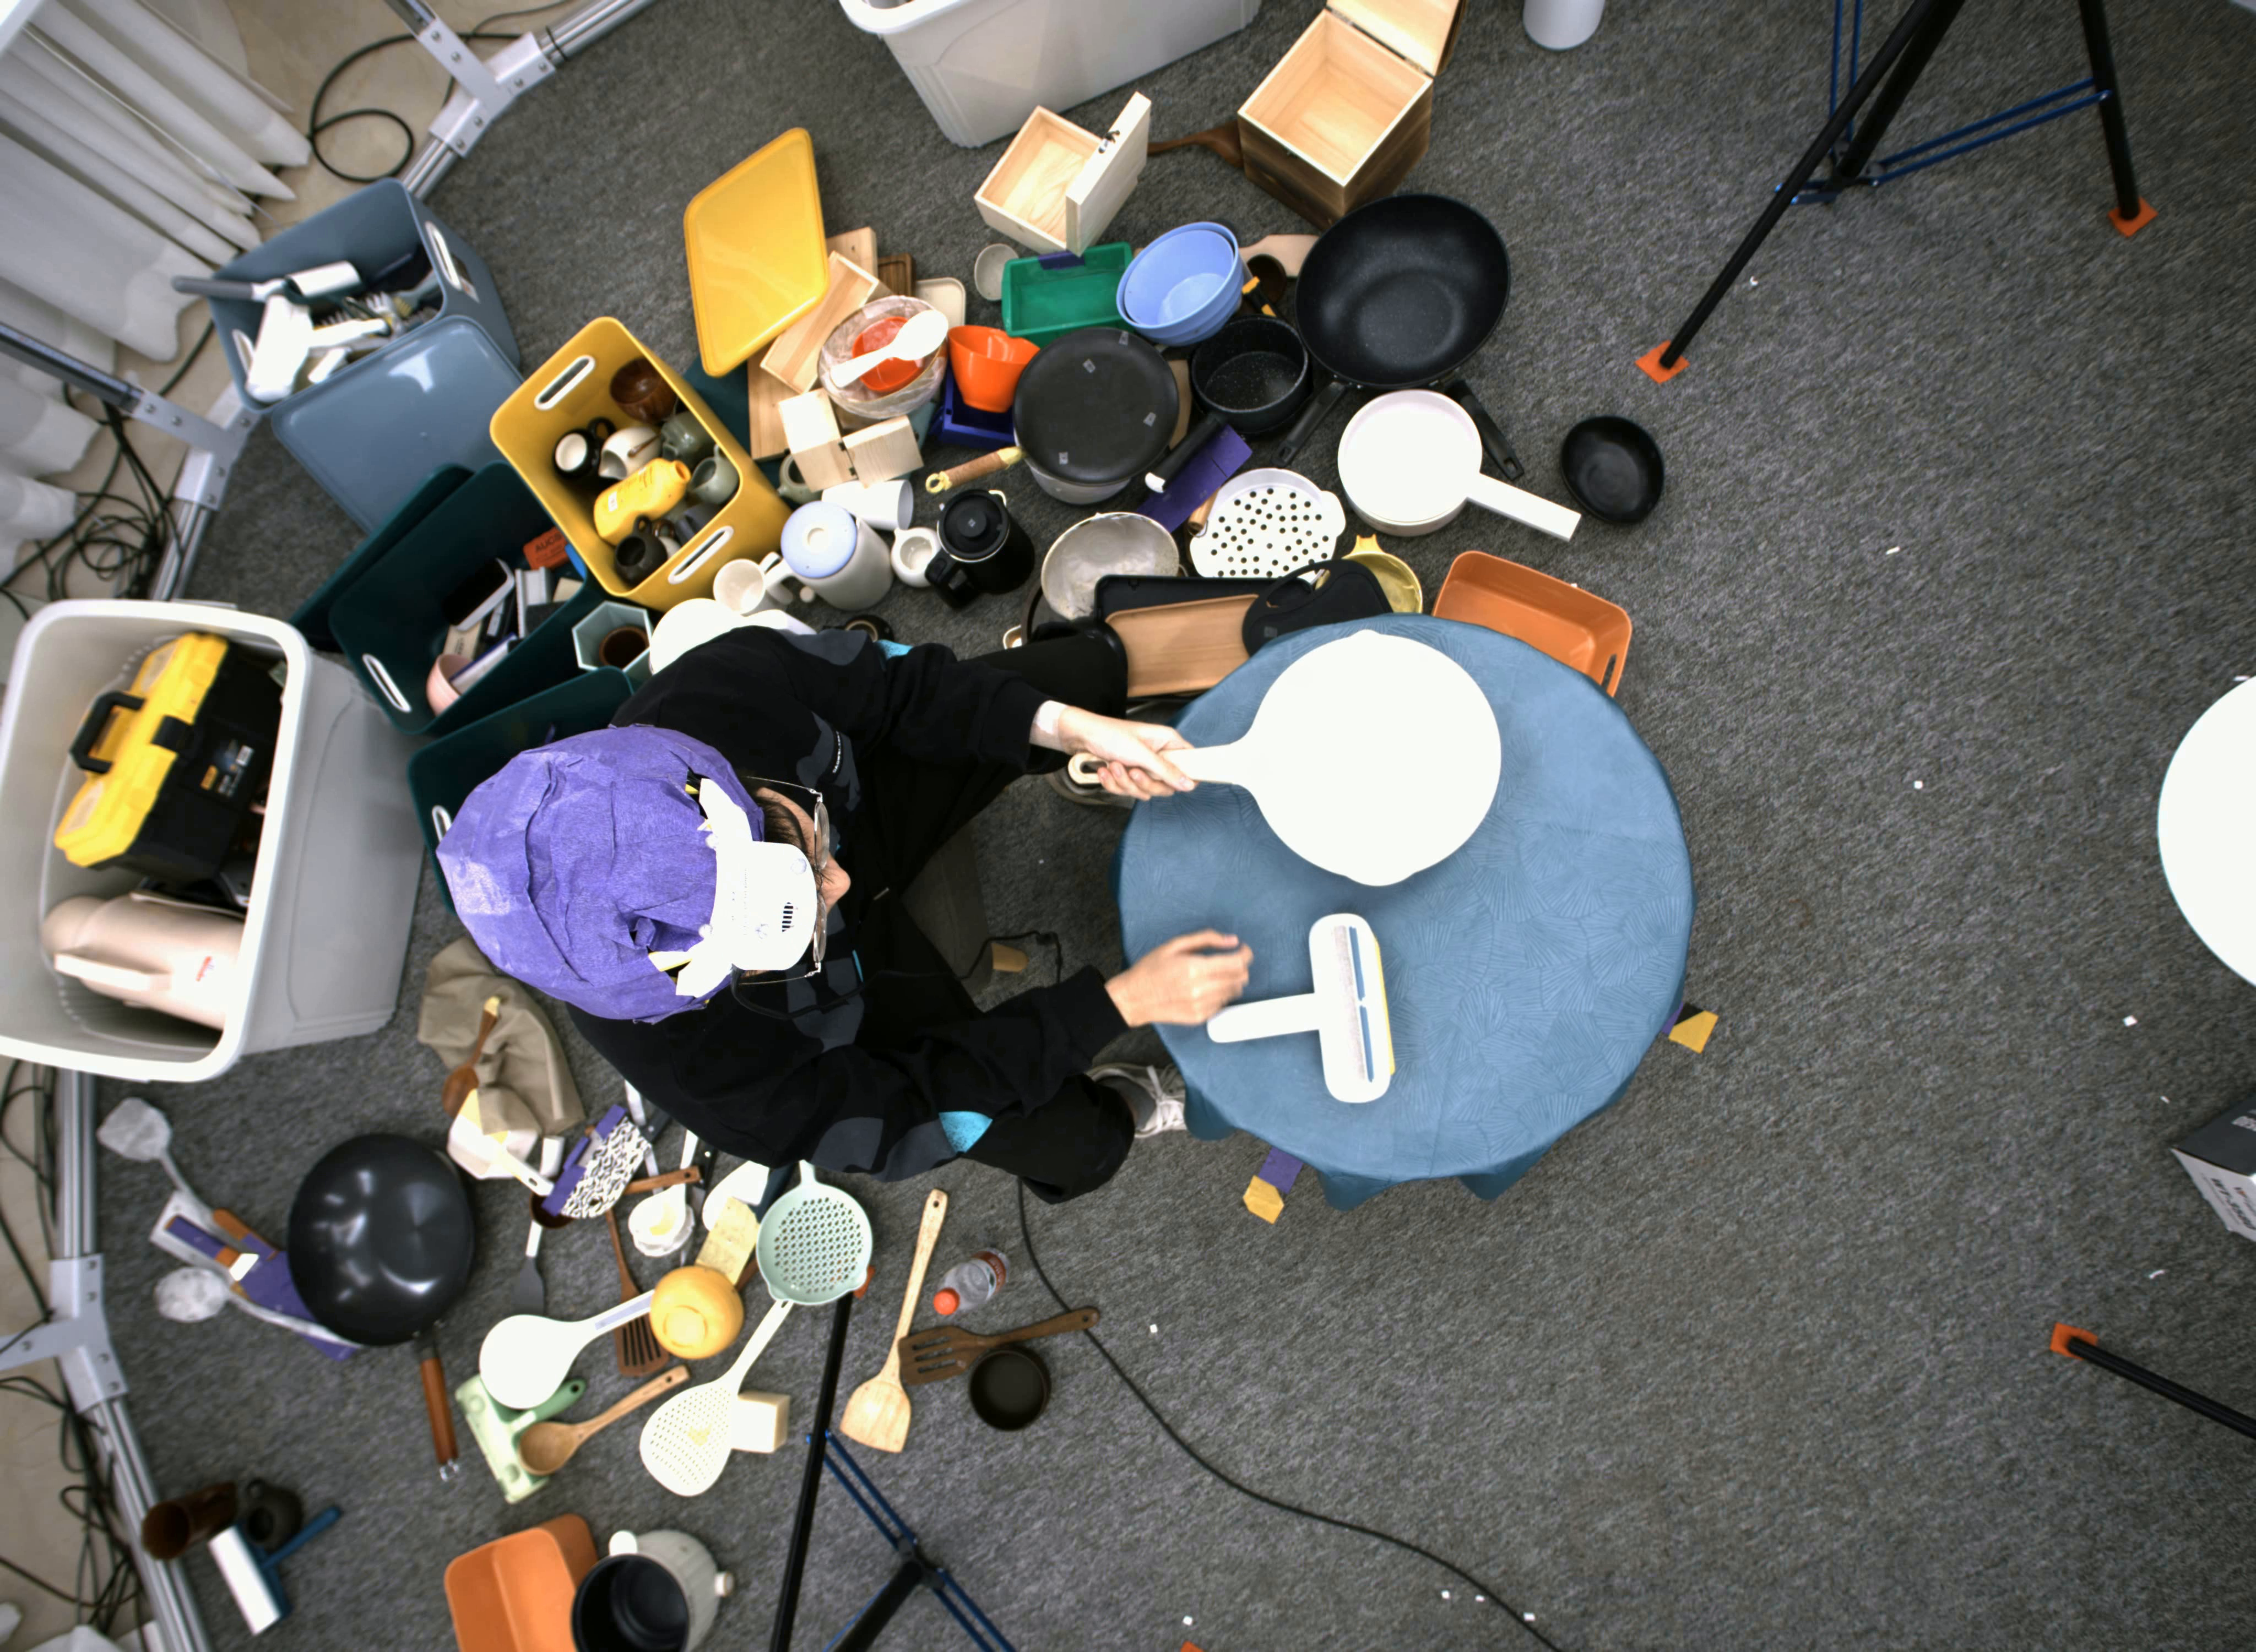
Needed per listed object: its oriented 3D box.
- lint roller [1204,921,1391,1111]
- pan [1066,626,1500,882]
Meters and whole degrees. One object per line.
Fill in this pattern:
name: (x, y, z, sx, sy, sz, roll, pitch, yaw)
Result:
lint roller: (0.171, 0.198, 1.433, 0.193, 0.074, 0.191, -4, 81, 12)
pan: (0.159, -0.065, 1.427, 0.437, 0.102, 0.262, -4, 85, 9)
